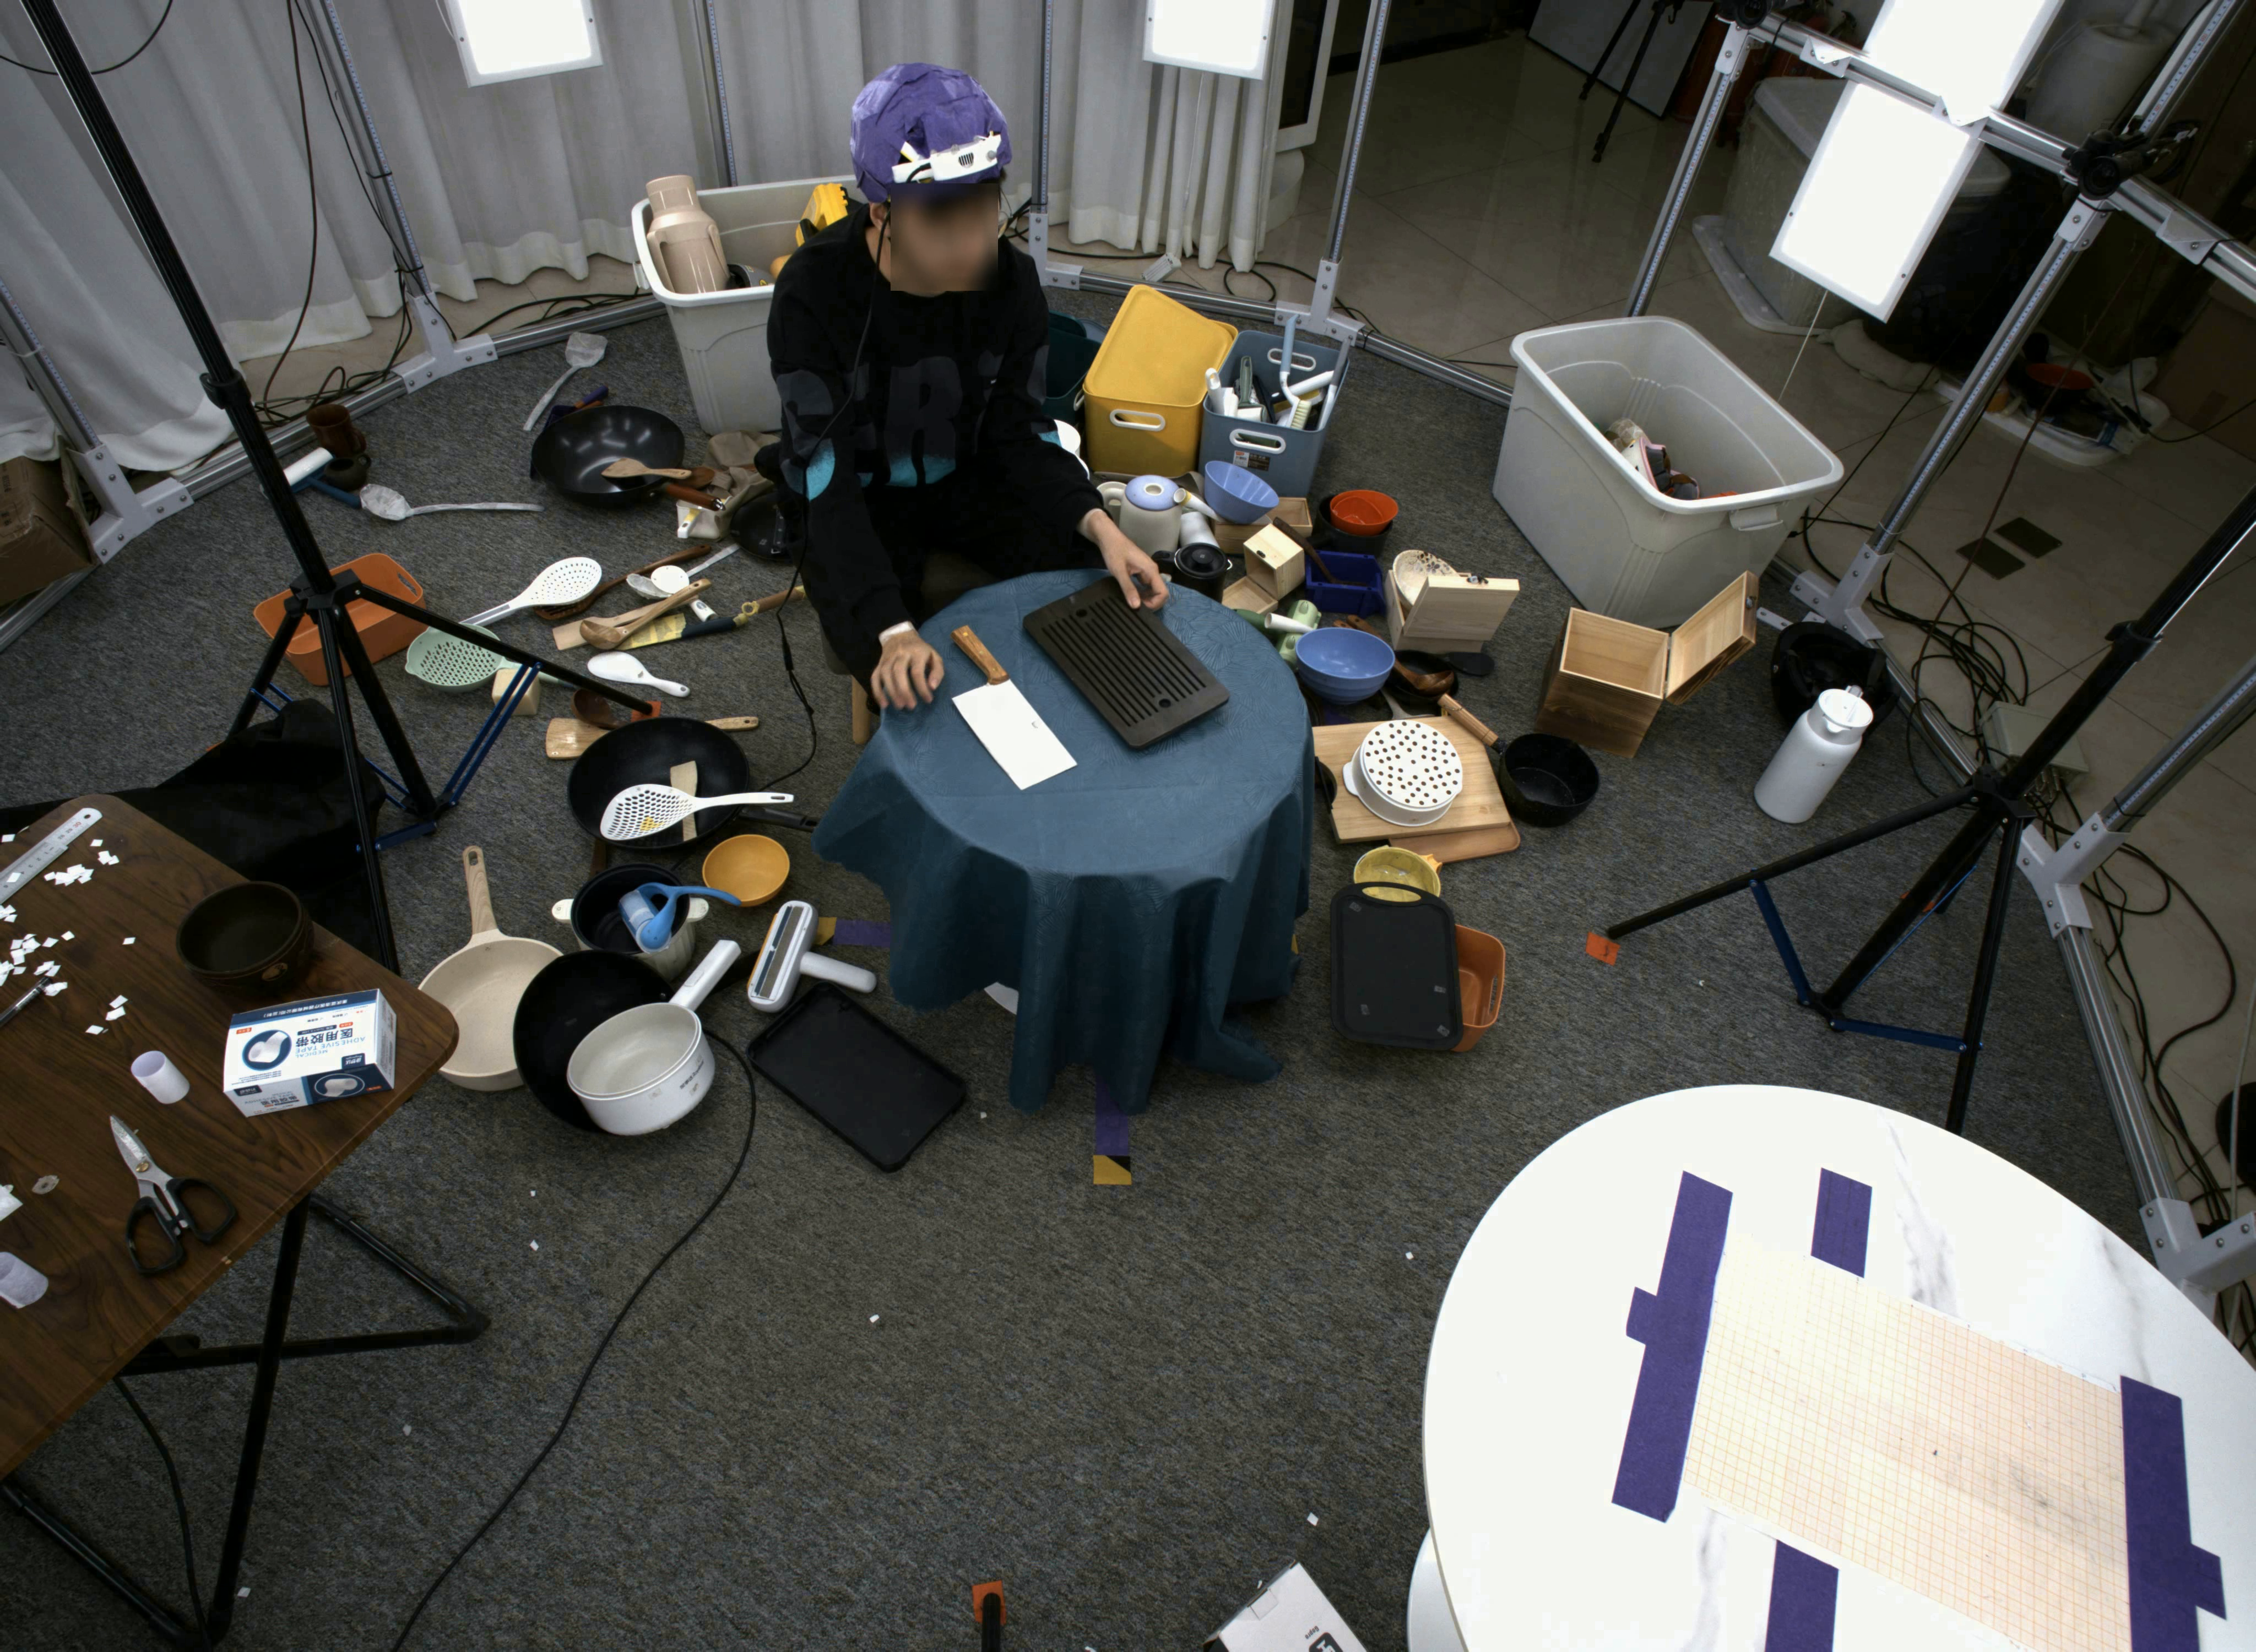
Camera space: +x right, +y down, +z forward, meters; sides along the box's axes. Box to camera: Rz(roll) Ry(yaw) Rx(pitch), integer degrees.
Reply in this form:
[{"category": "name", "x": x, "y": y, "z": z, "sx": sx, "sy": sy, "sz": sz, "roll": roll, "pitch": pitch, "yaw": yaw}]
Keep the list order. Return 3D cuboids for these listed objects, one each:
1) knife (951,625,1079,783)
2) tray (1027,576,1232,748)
[{"category": "knife", "x": -0.183, "y": -0.171, "z": 1.795, "sx": 0.093, "sy": 0.020, "sz": 0.312, "roll": -25, "pitch": 57, "yaw": -22}, {"category": "tray", "x": -0.001, "y": -0.242, "z": 1.857, "sx": 0.171, "sy": 0.018, "sz": 0.312, "roll": -28, "pitch": 56, "yaw": -18}]
